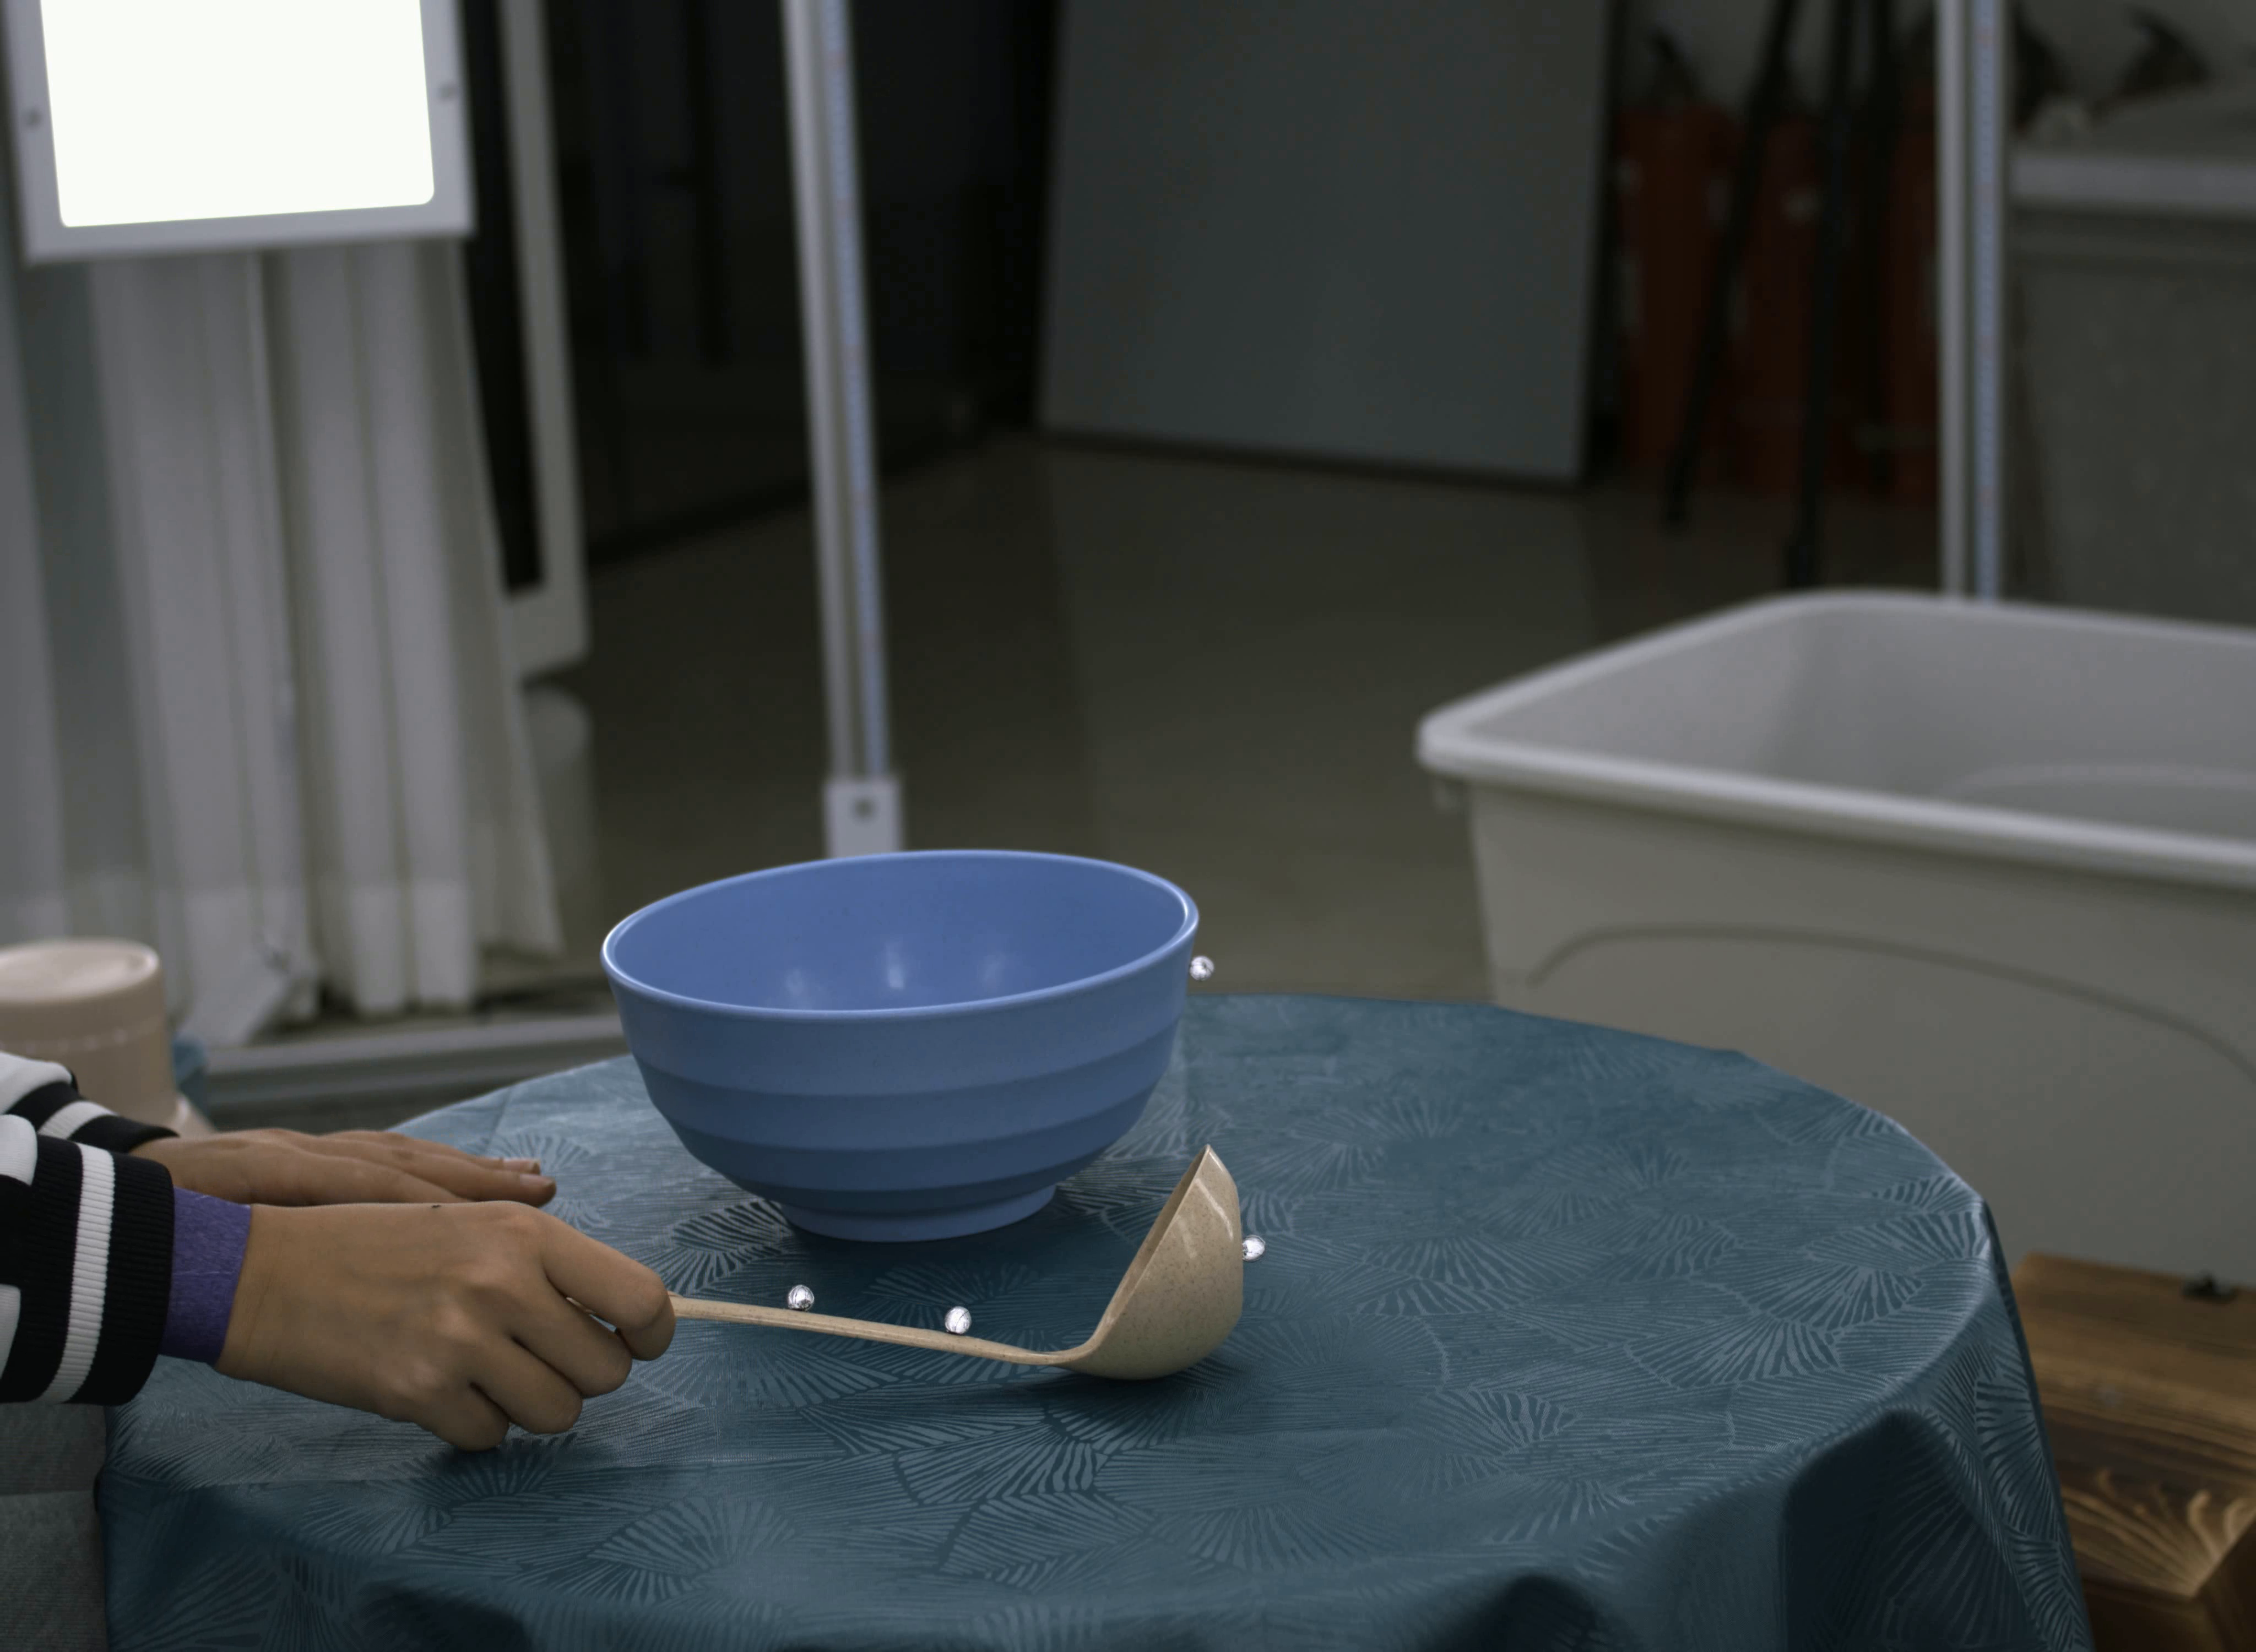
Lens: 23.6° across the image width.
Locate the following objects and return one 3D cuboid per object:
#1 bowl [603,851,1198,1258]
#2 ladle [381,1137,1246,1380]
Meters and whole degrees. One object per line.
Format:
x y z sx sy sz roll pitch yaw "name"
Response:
-0.071 0.081 1.768 0.194 0.096 0.197 -4 15 0 "bowl"
-0.090 0.120 1.586 0.250 0.074 0.072 4 -4 -3 "ladle"
